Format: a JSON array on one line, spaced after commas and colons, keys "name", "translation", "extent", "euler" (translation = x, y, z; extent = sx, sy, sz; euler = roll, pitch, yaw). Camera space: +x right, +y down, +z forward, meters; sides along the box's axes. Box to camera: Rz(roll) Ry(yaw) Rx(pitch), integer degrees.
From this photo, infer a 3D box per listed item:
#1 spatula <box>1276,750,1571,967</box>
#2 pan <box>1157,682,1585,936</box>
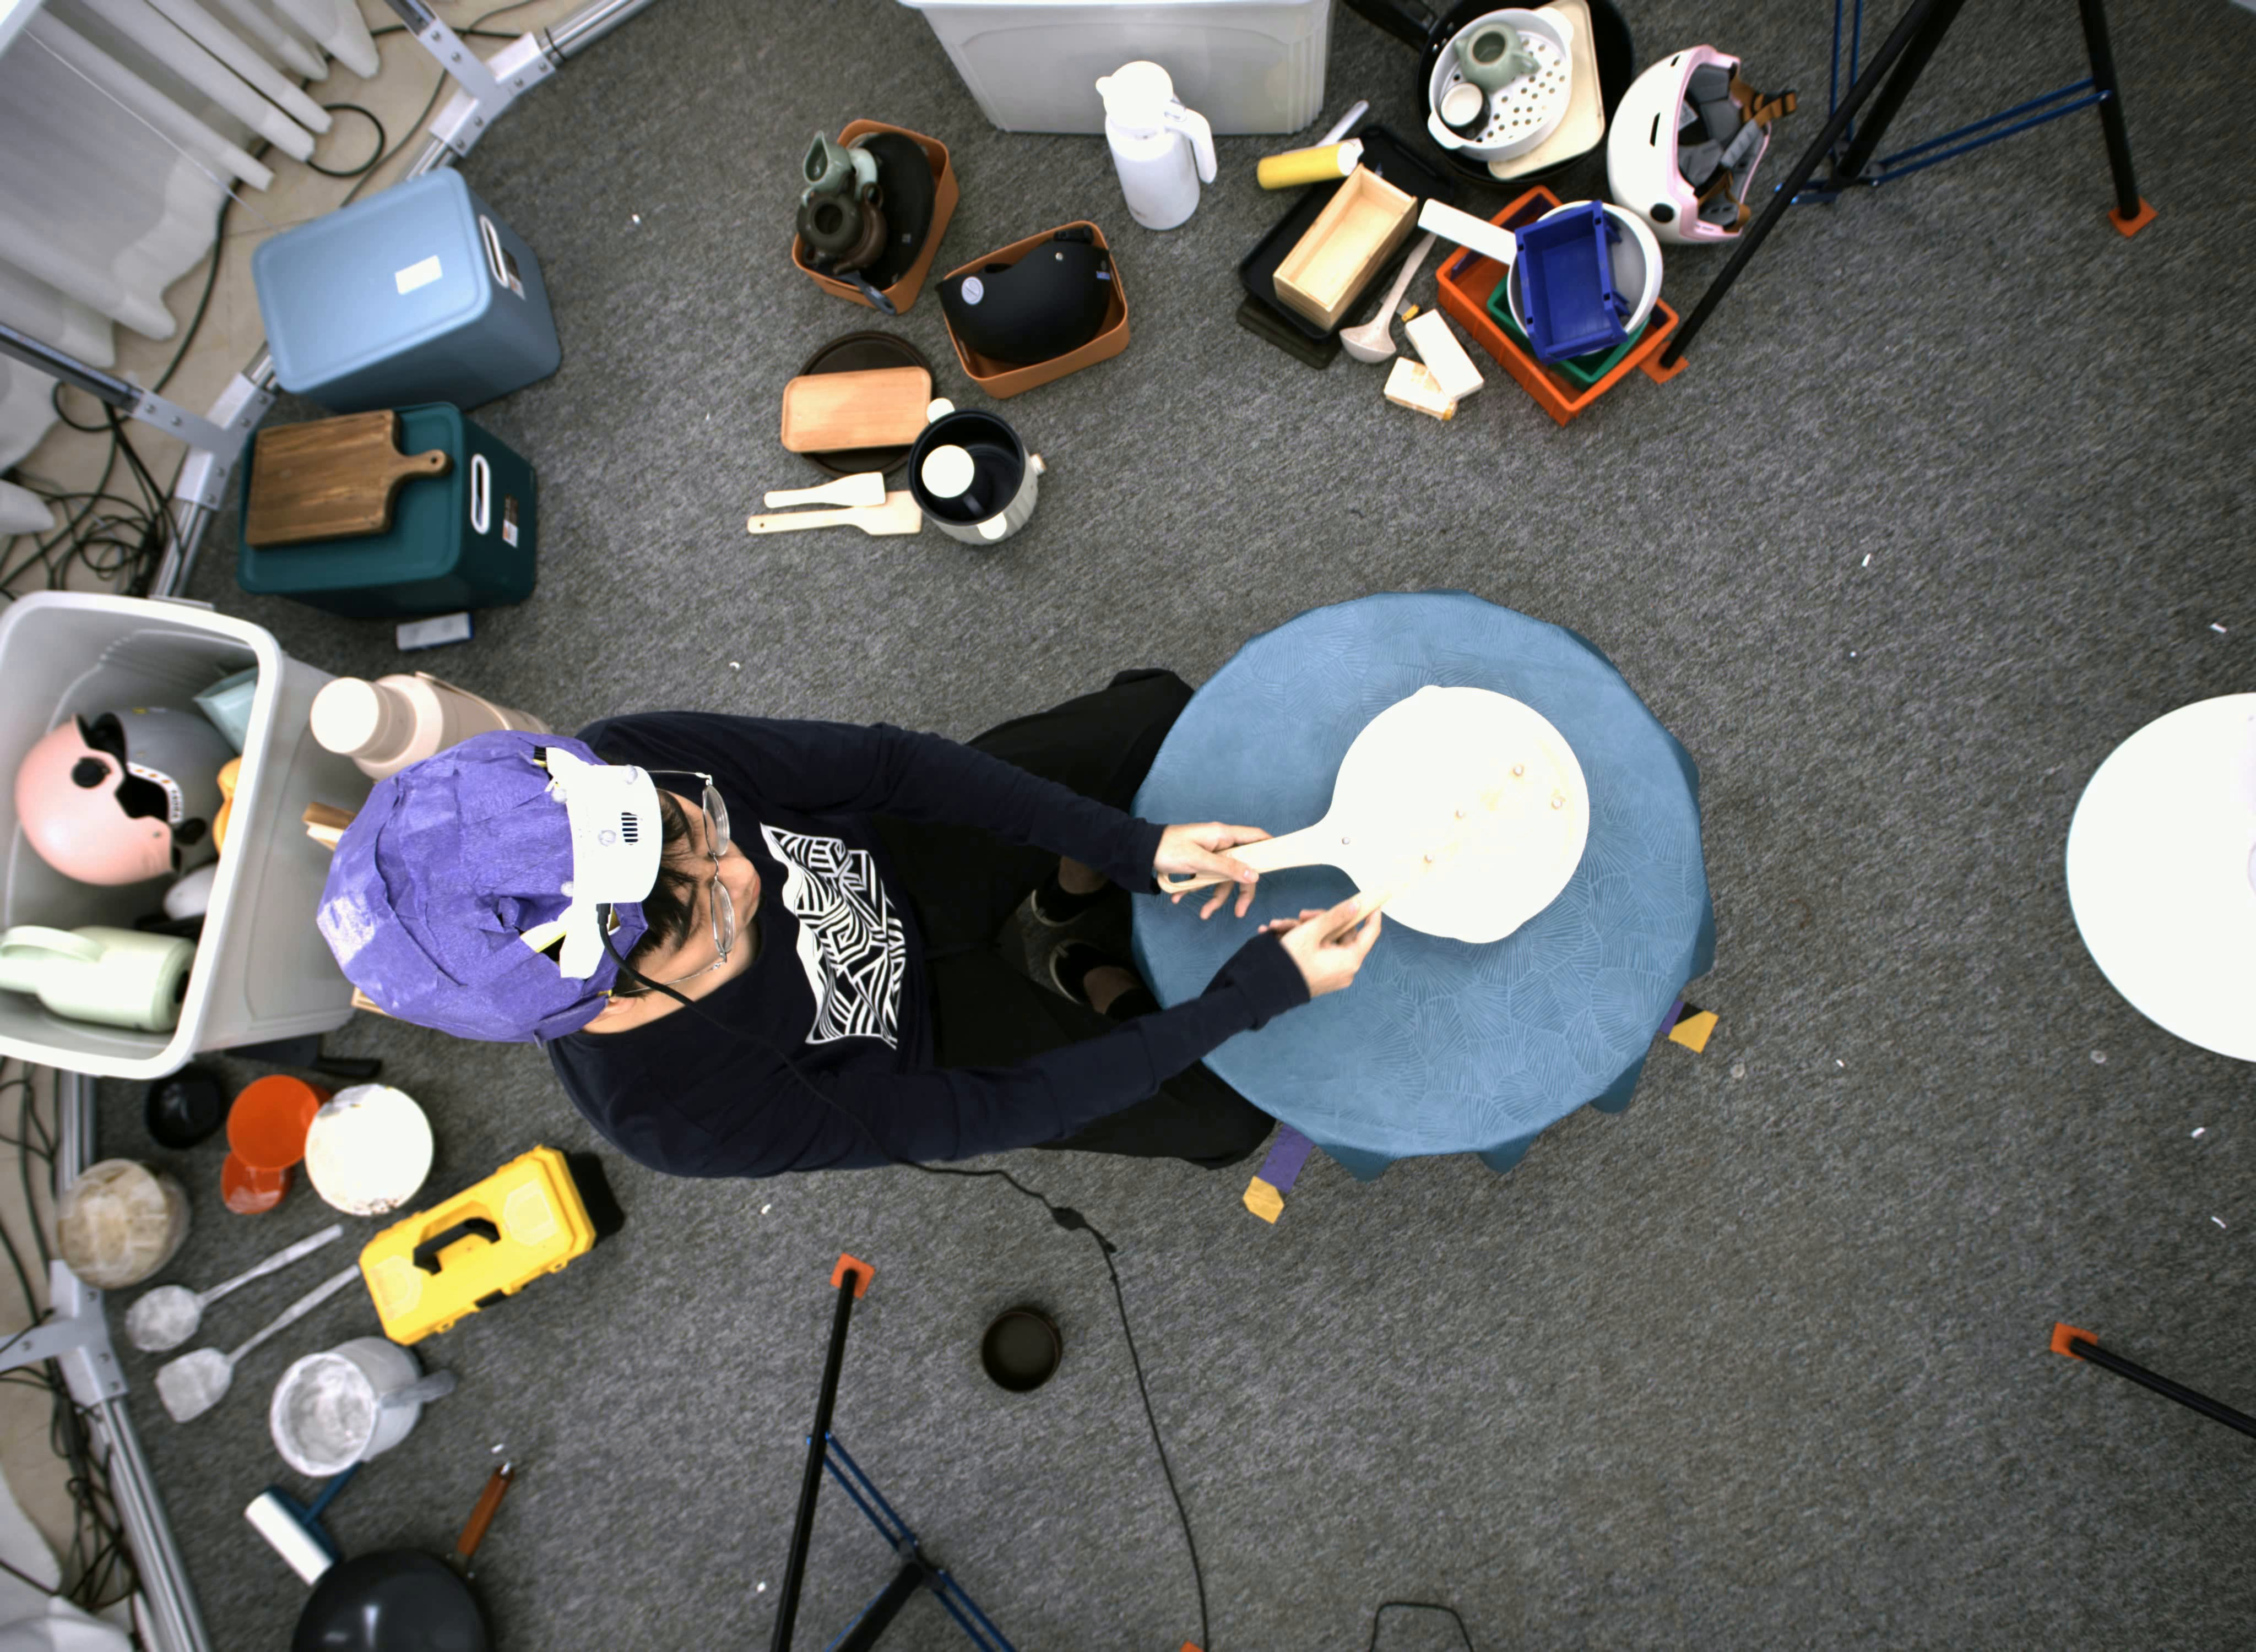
[{"name": "spatula", "translation": [0.276, 0.035, 1.326], "extent": [0.326, 0.017, 0.079], "euler": [-34, 74, -6]}, {"name": "pan", "translation": [0.245, 0.005, 1.420], "extent": [0.437, 0.102, 0.262], "euler": [-15, 85, 10]}]
